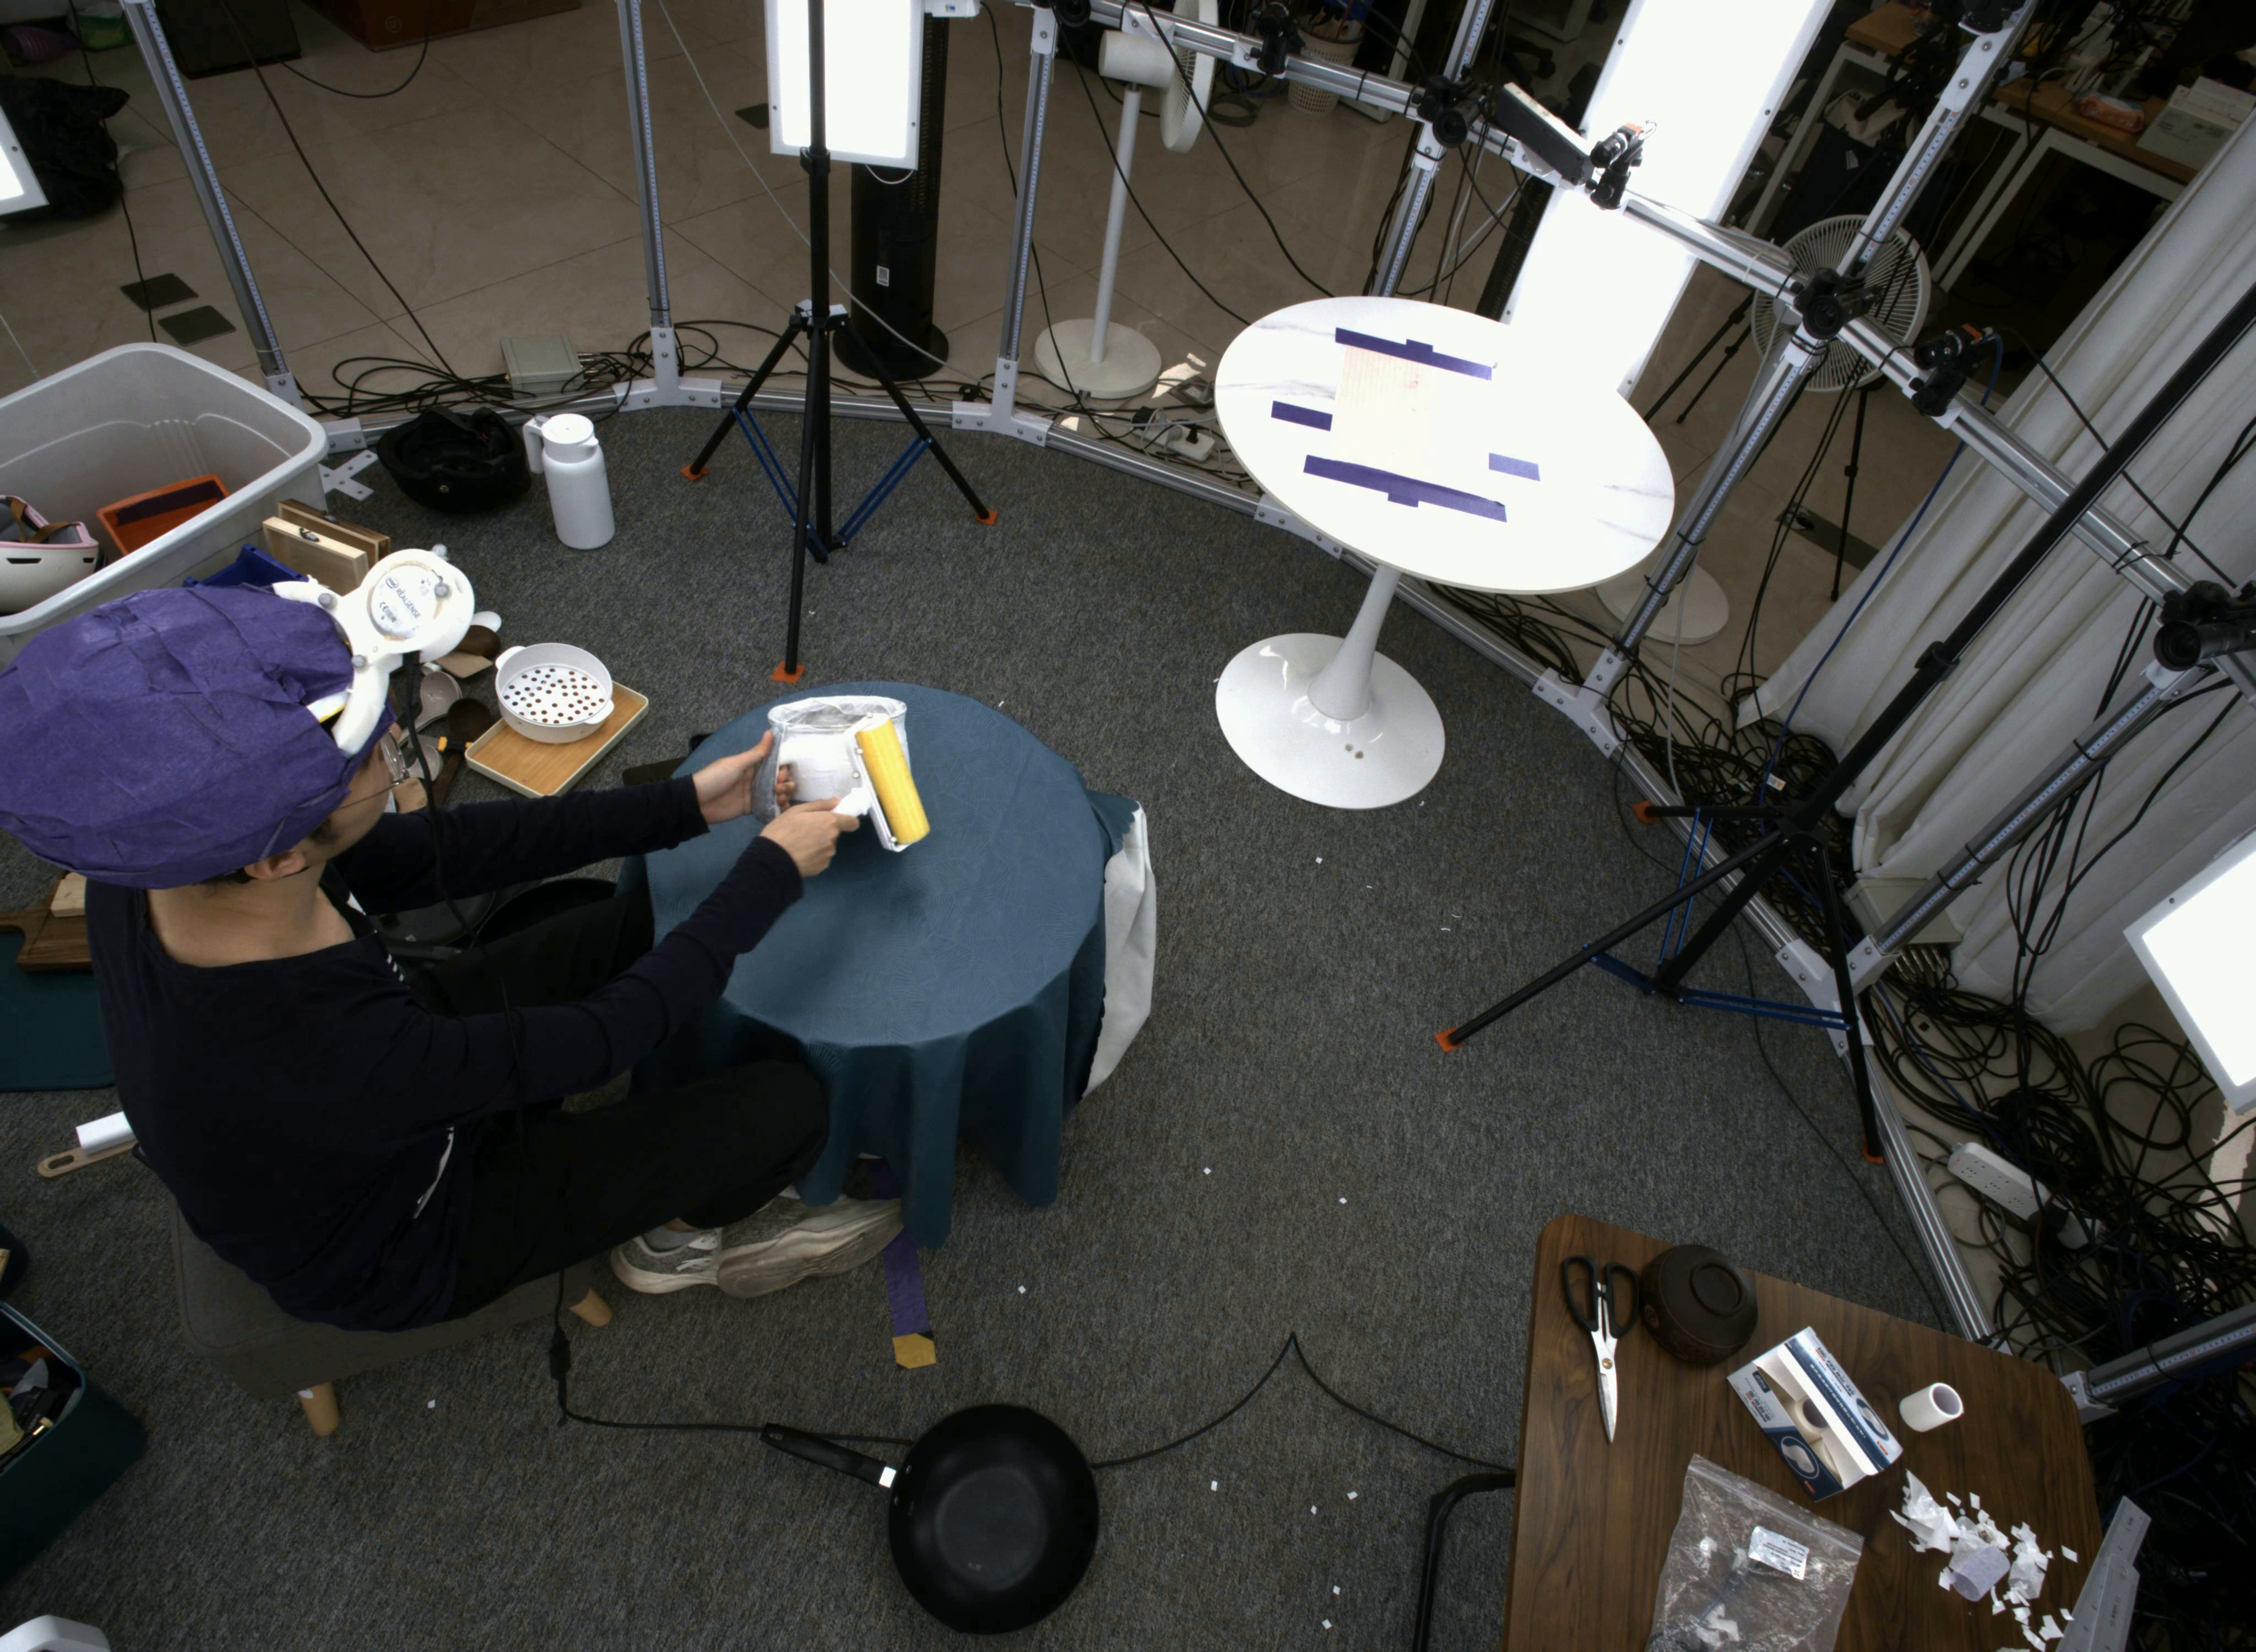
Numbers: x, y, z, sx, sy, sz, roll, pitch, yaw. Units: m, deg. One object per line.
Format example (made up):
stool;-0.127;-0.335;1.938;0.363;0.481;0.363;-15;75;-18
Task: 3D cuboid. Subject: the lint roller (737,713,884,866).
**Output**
lint roller;-0.390;-0.016;1.555;0.050;0.181;0.191;1;35;32

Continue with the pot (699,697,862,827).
pot;-0.450;-0.080;1.646;0.173;0.140;0.235;6;18;29
